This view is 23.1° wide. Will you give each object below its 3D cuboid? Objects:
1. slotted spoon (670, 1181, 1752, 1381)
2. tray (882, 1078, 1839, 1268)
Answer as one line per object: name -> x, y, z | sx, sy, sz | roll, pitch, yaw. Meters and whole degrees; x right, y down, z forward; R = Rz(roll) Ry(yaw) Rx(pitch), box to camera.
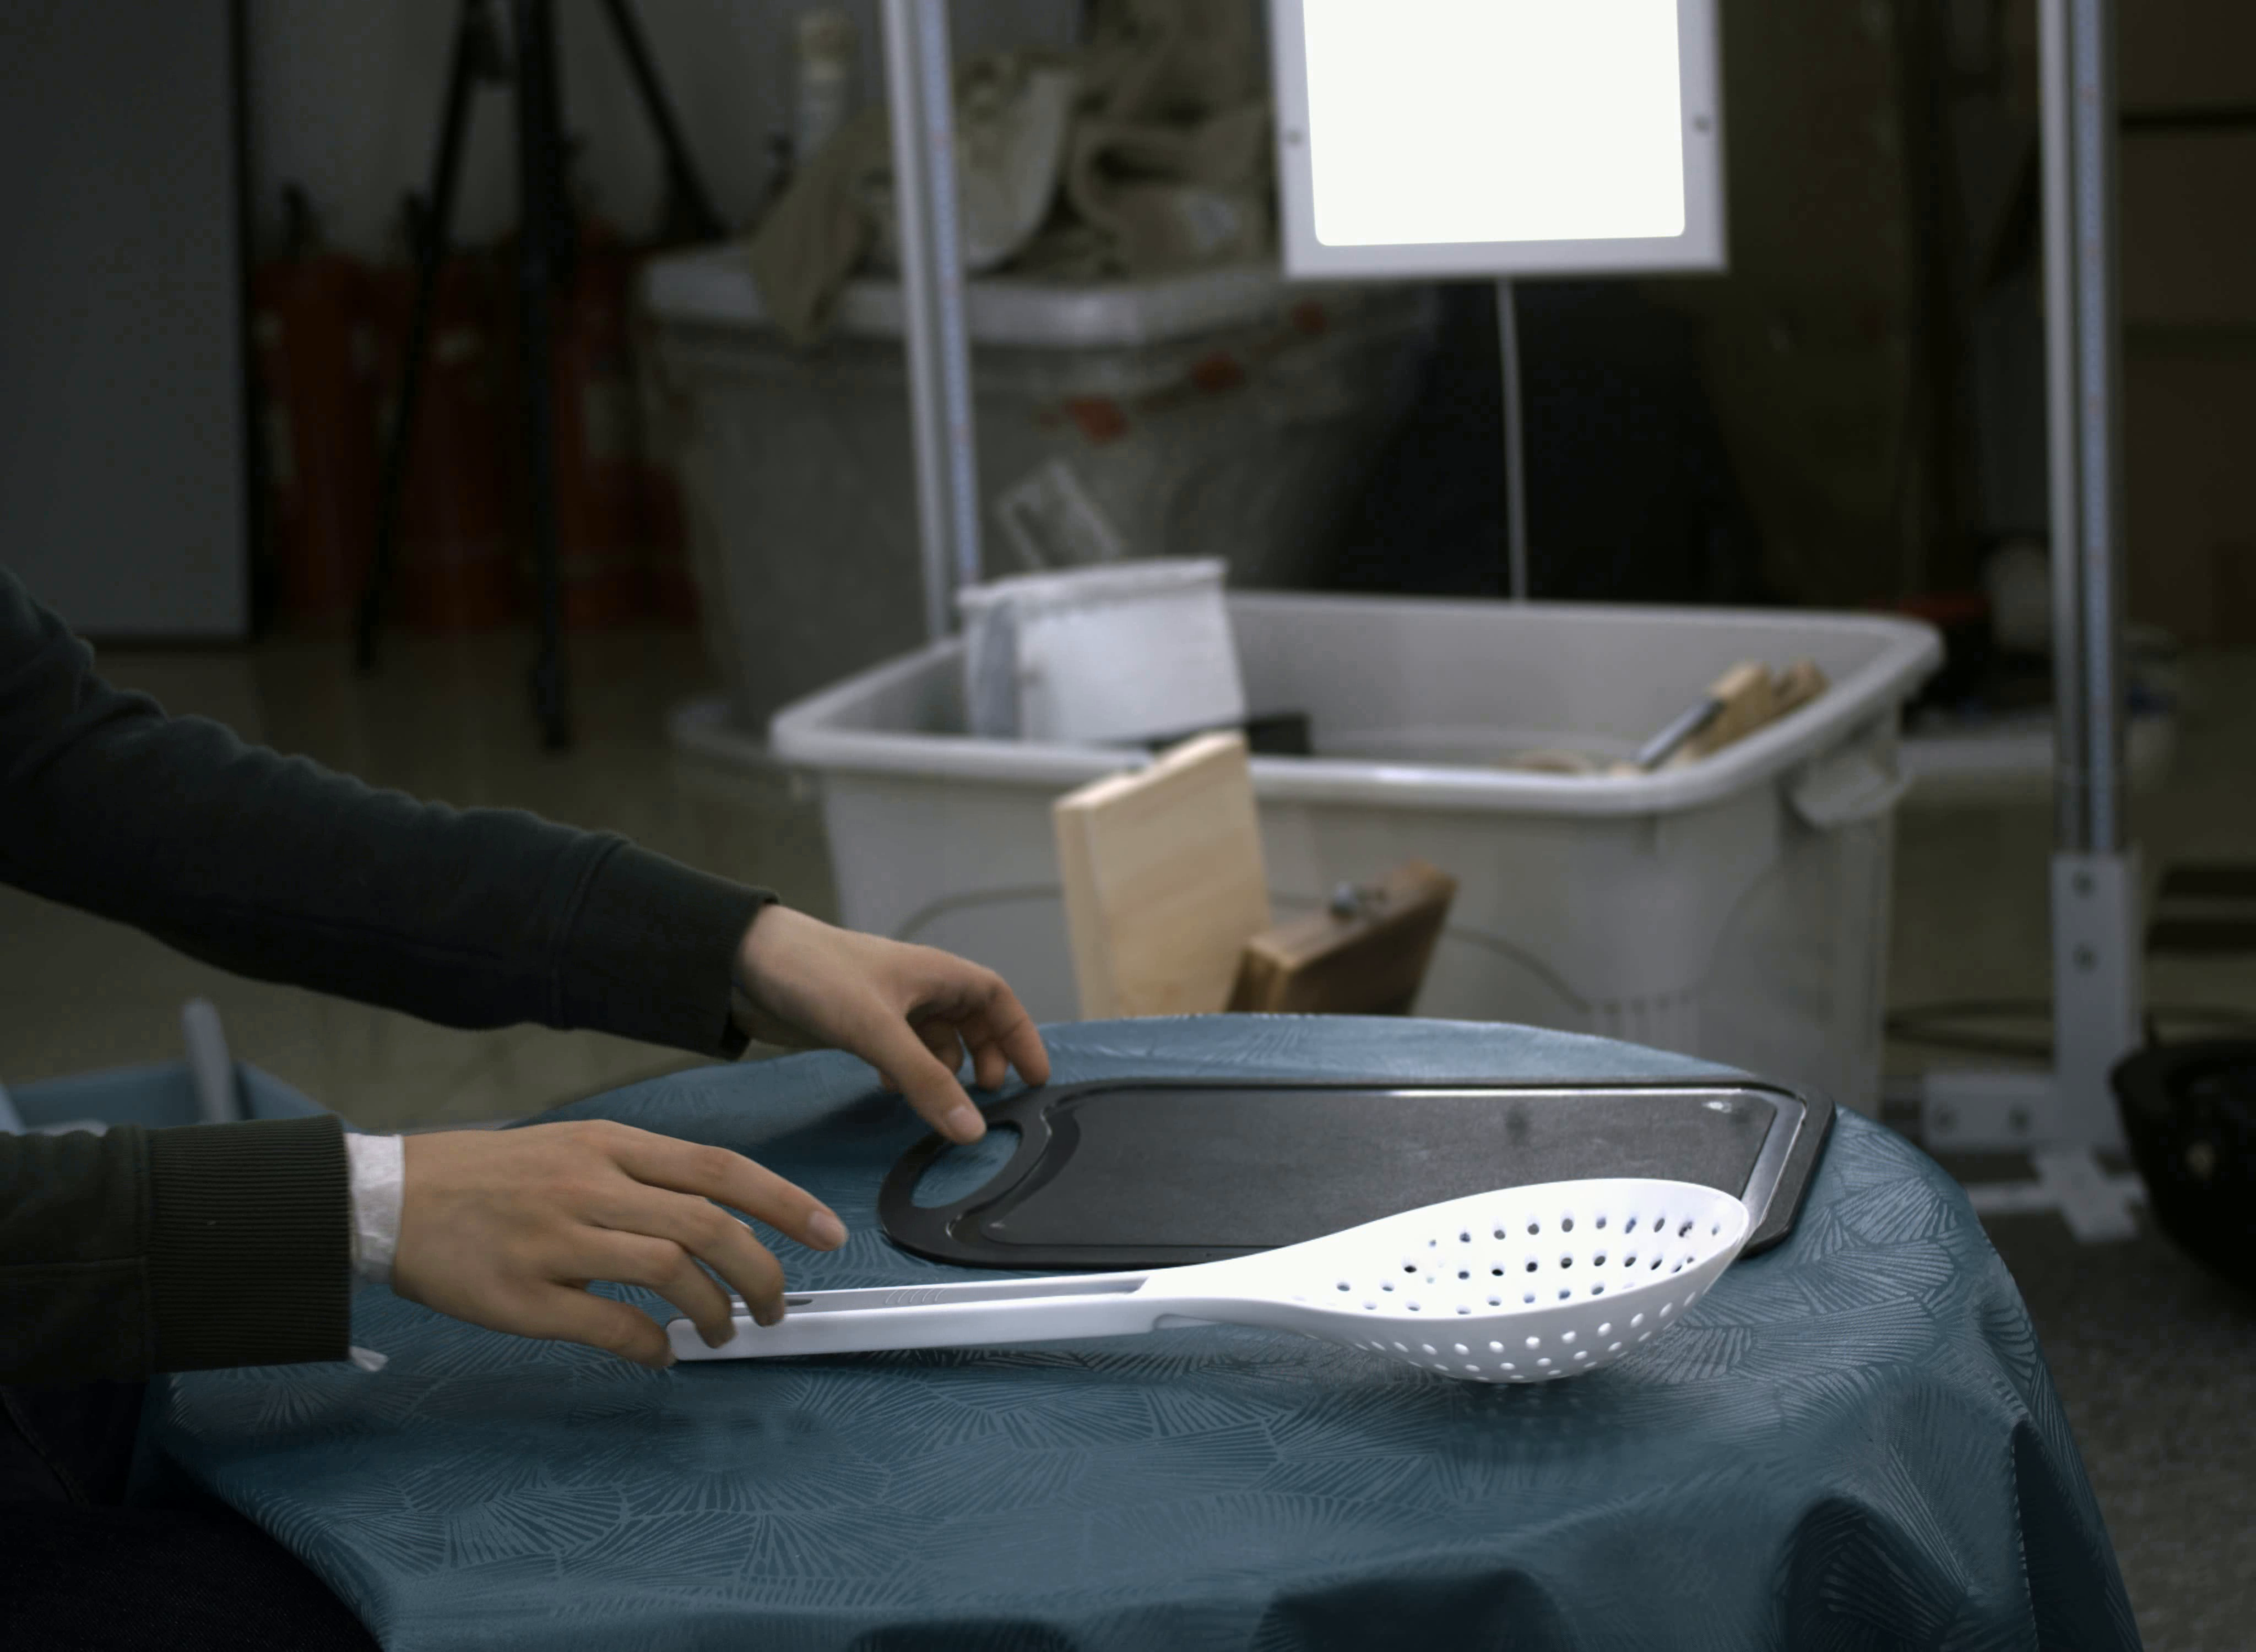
slotted spoon -> 0.022, 0.146, 1.715 | 0.354, 0.046, 0.134 | -1, 12, 18
tray -> 0.077, 0.117, 1.896 | 0.329, 0.010, 0.208 | -1, 14, 17
